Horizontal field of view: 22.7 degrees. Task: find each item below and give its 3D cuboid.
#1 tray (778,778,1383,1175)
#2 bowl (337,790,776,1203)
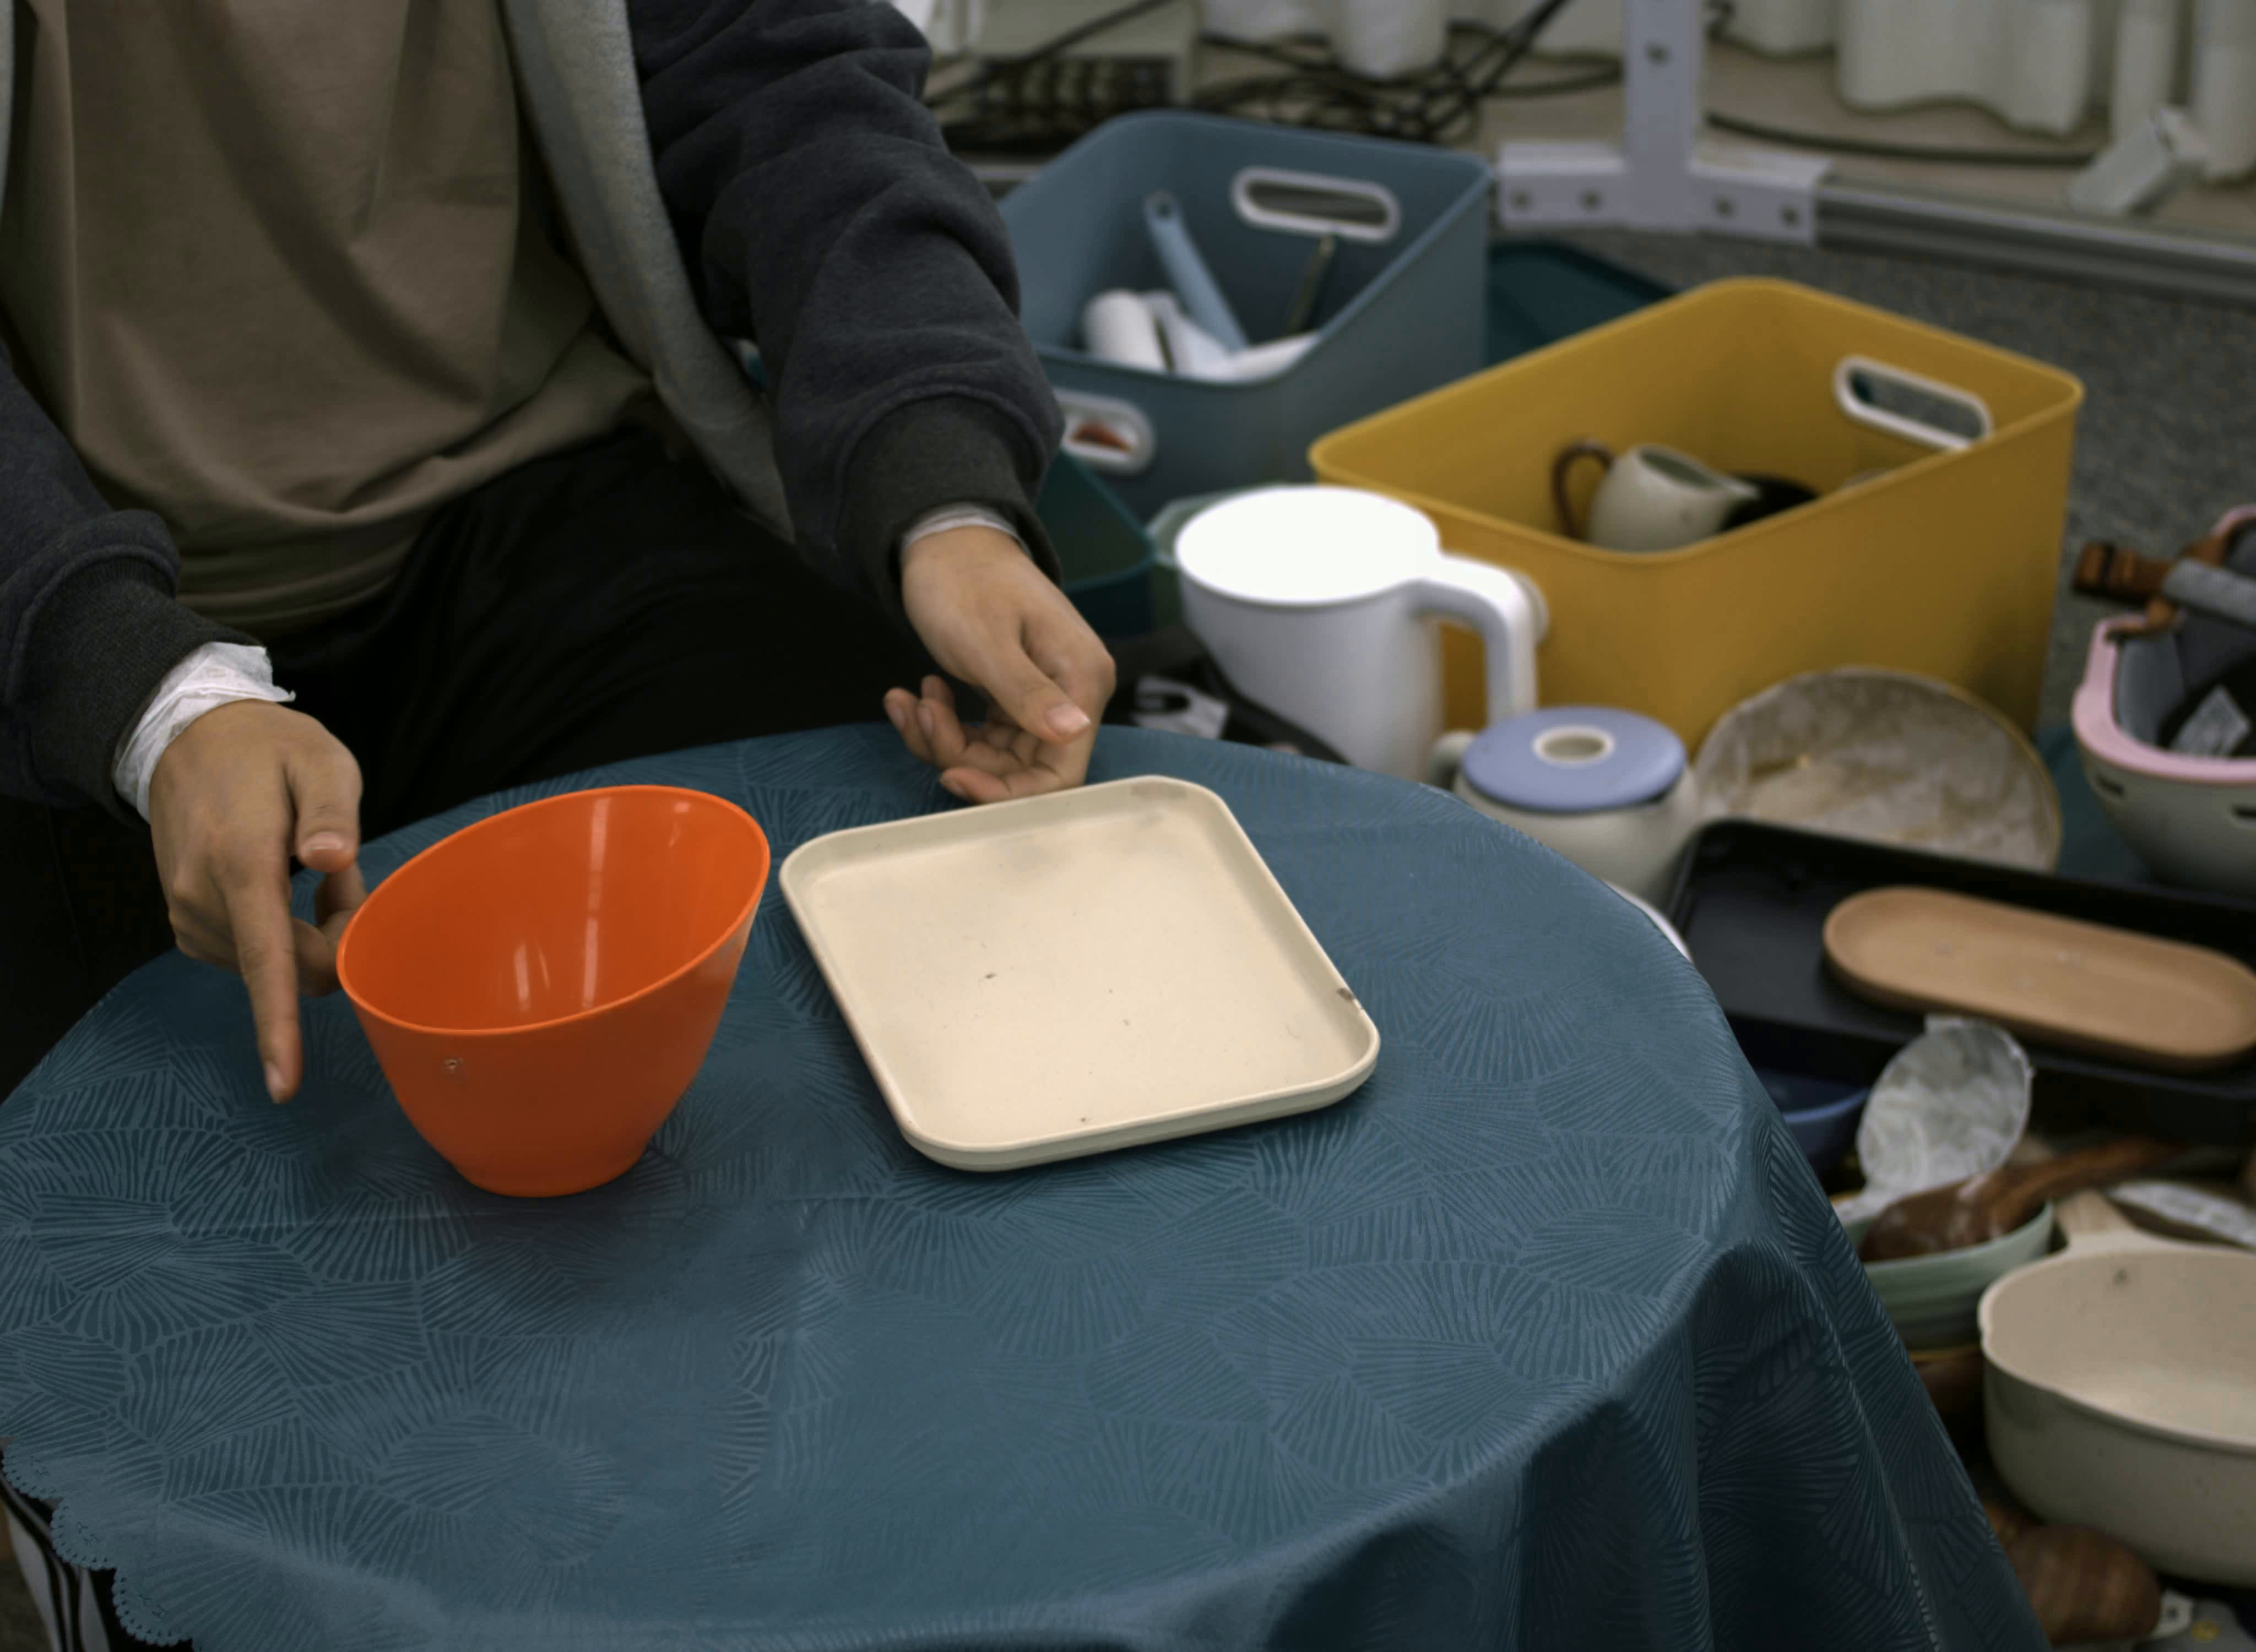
[{"bbox_3d":[-0.020,0.052,1.980,0.171,0.017,0.242,-11,28,-13],"label":"tray"},{"bbox_3d":[-0.188,0.064,1.884,0.147,0.103,0.150,-1,28,1],"label":"bowl"}]
